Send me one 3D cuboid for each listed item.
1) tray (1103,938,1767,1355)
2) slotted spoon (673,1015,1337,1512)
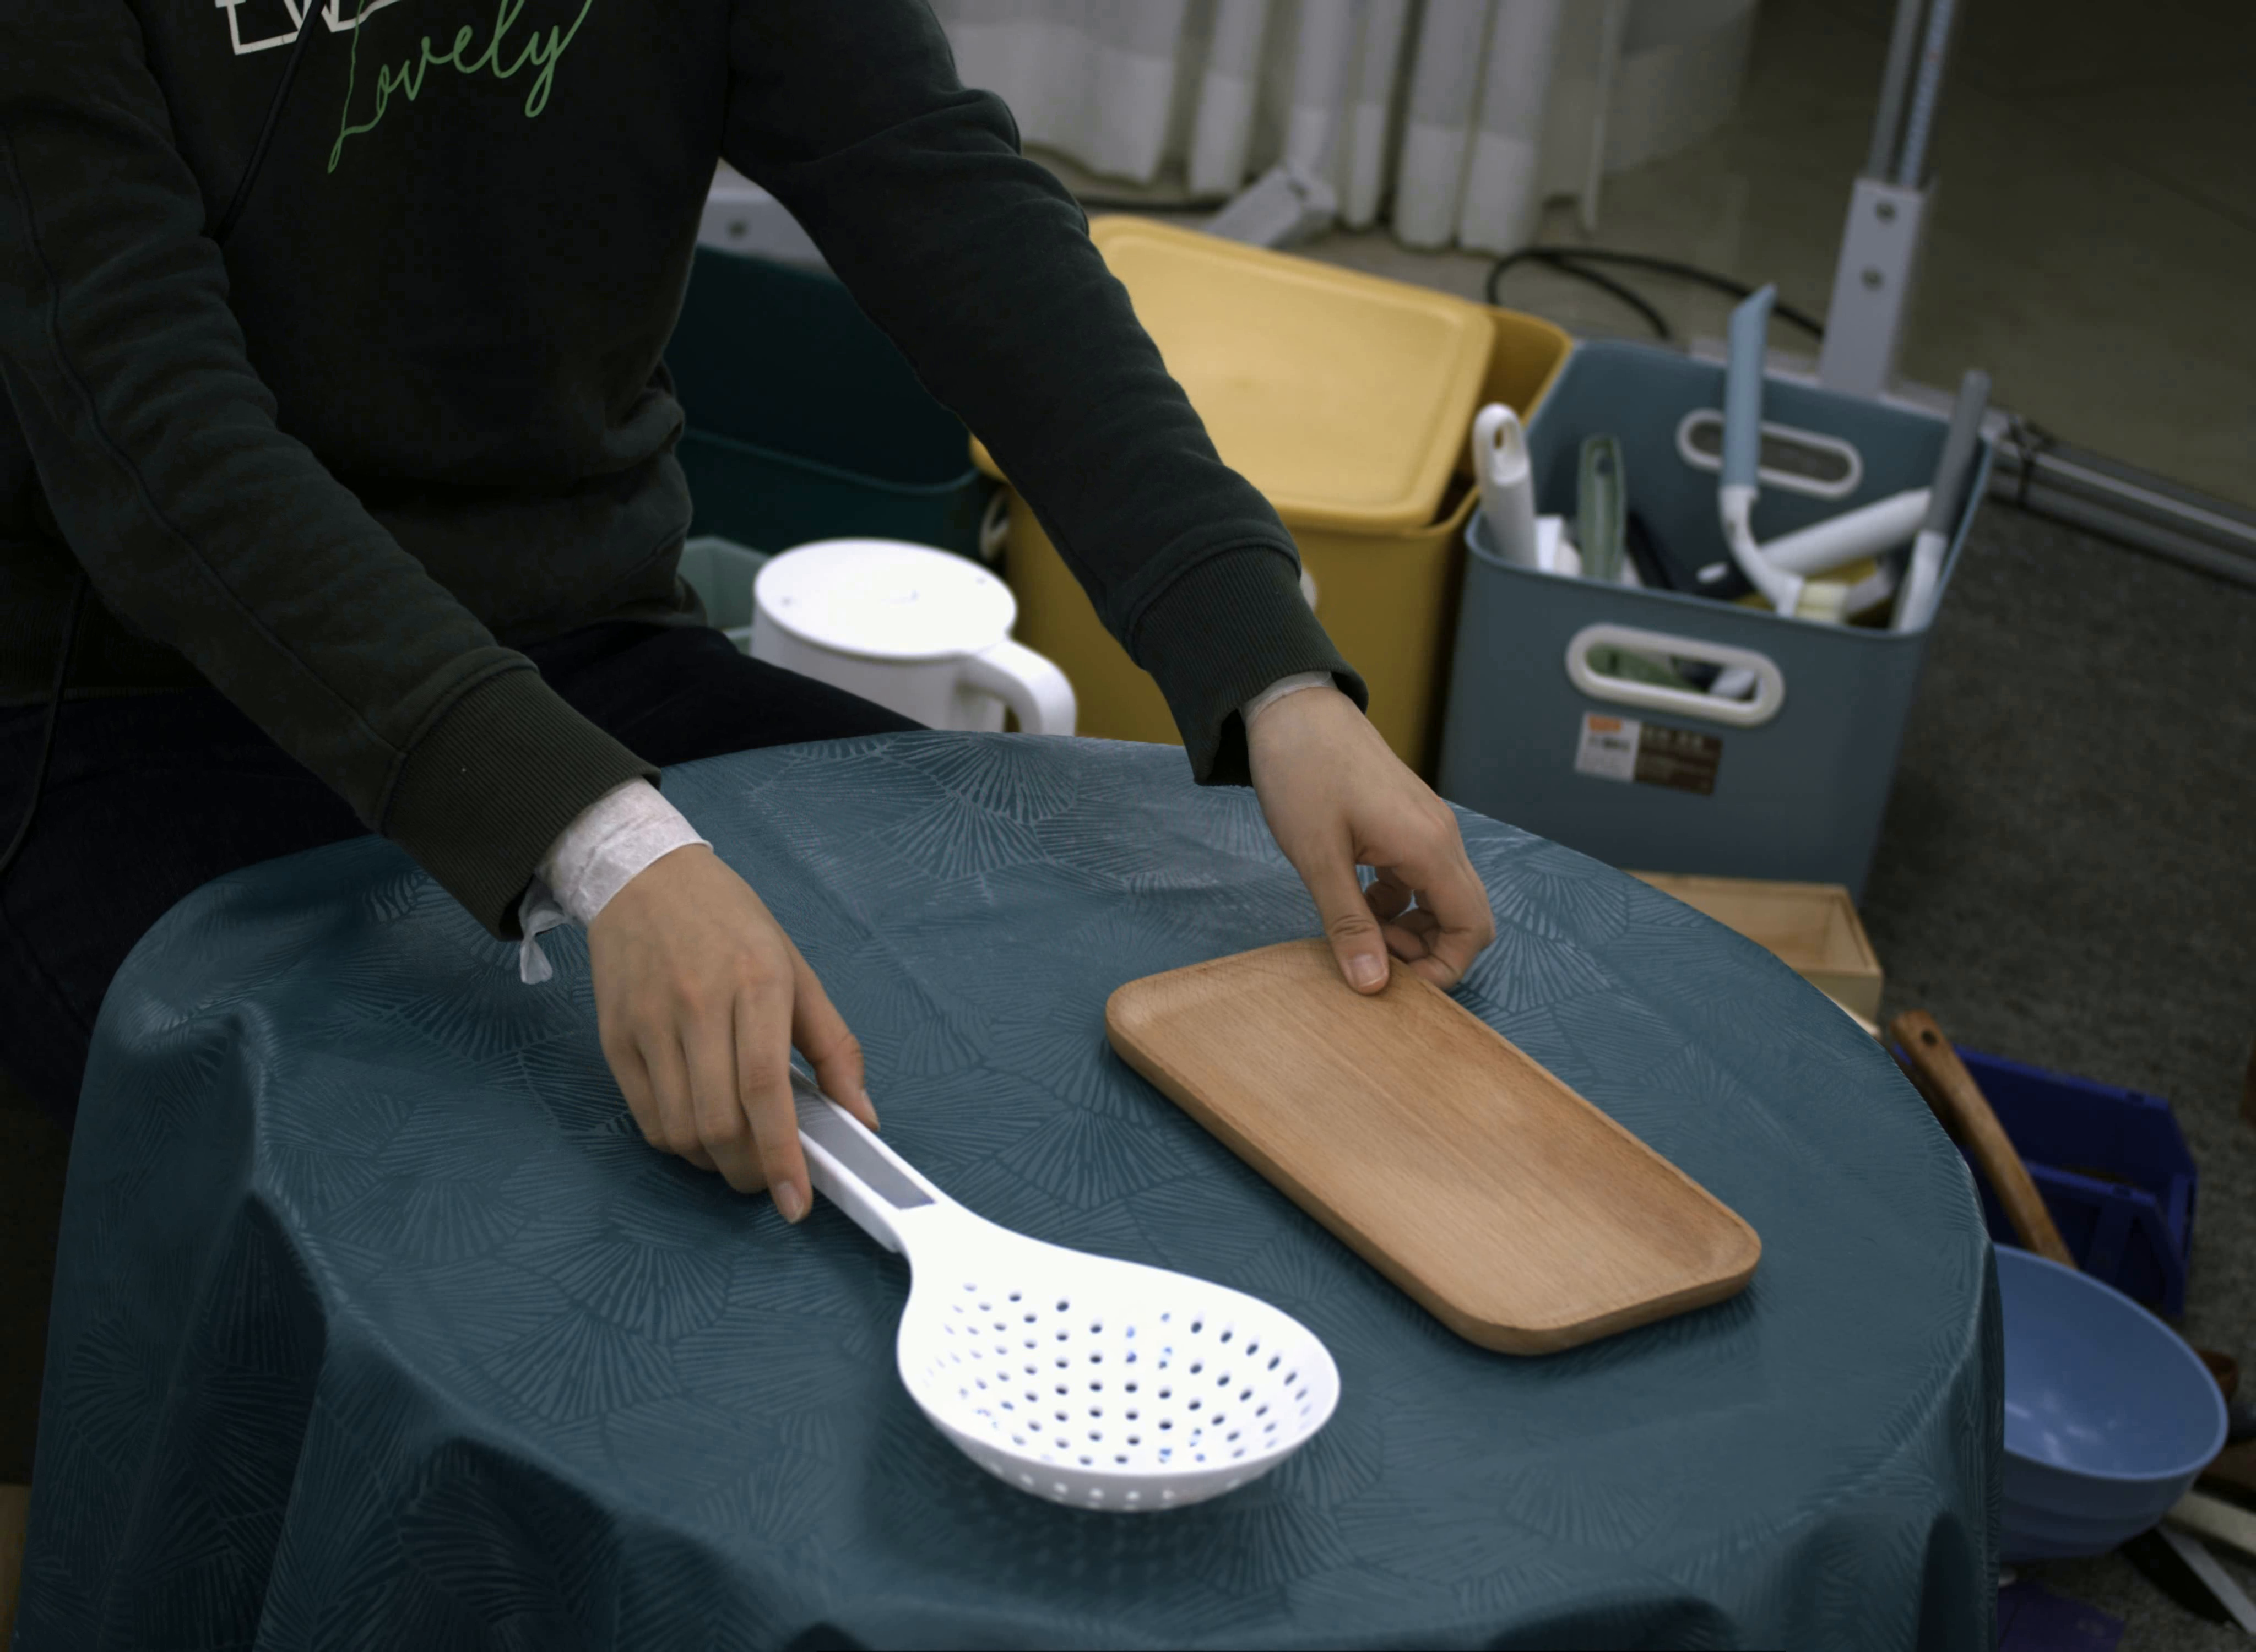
[{"bbox_3d":[0.102,0.108,1.836,0.130,0.023,0.253,-10,30,-33],"label":"tray"},{"bbox_3d":[-0.060,0.134,1.715,0.135,0.045,0.353,-8,29,-30],"label":"slotted spoon"}]
